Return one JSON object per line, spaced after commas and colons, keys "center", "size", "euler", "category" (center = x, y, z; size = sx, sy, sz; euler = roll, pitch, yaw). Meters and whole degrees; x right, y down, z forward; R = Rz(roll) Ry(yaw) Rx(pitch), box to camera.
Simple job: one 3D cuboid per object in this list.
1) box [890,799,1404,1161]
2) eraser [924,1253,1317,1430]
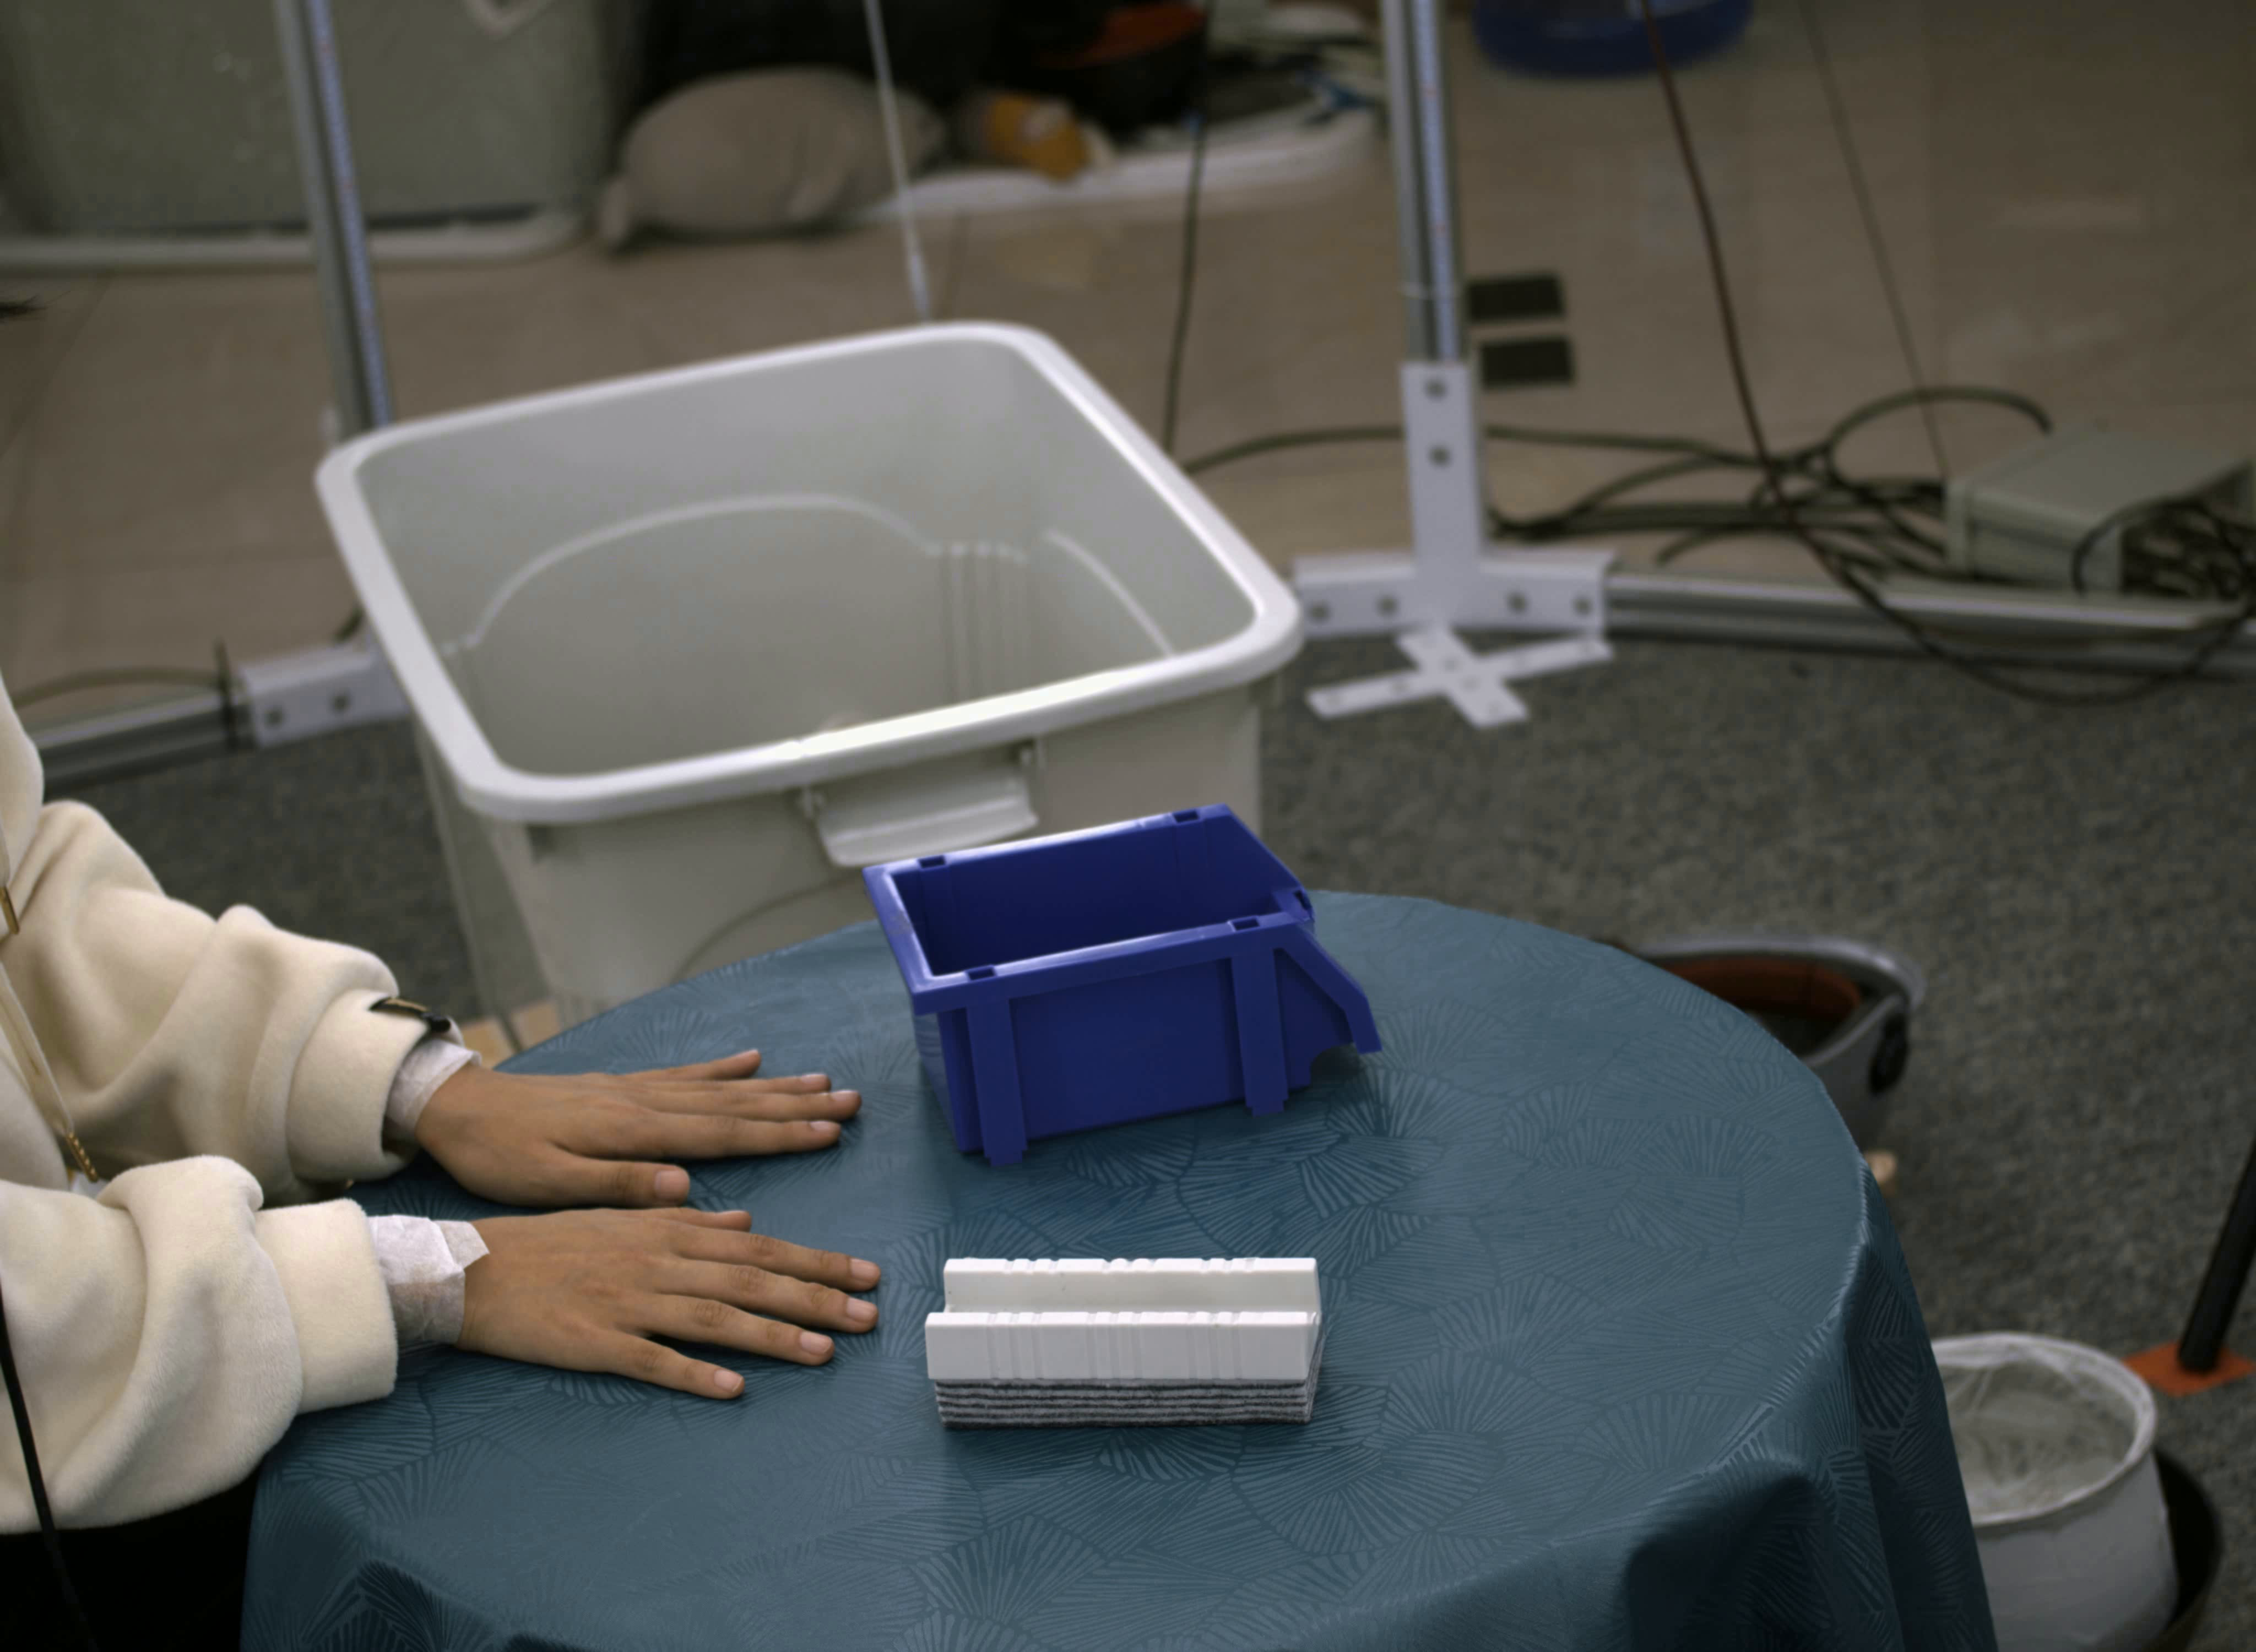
{"center": [0.007, 0.057, 2.224], "size": [0.179, 0.083, 0.123], "euler": [-11, 26, -6], "category": "box"}
{"center": [-0.001, 0.182, 1.999], "size": [0.134, 0.047, 0.049], "euler": [-1, 27, 7], "category": "eraser"}
